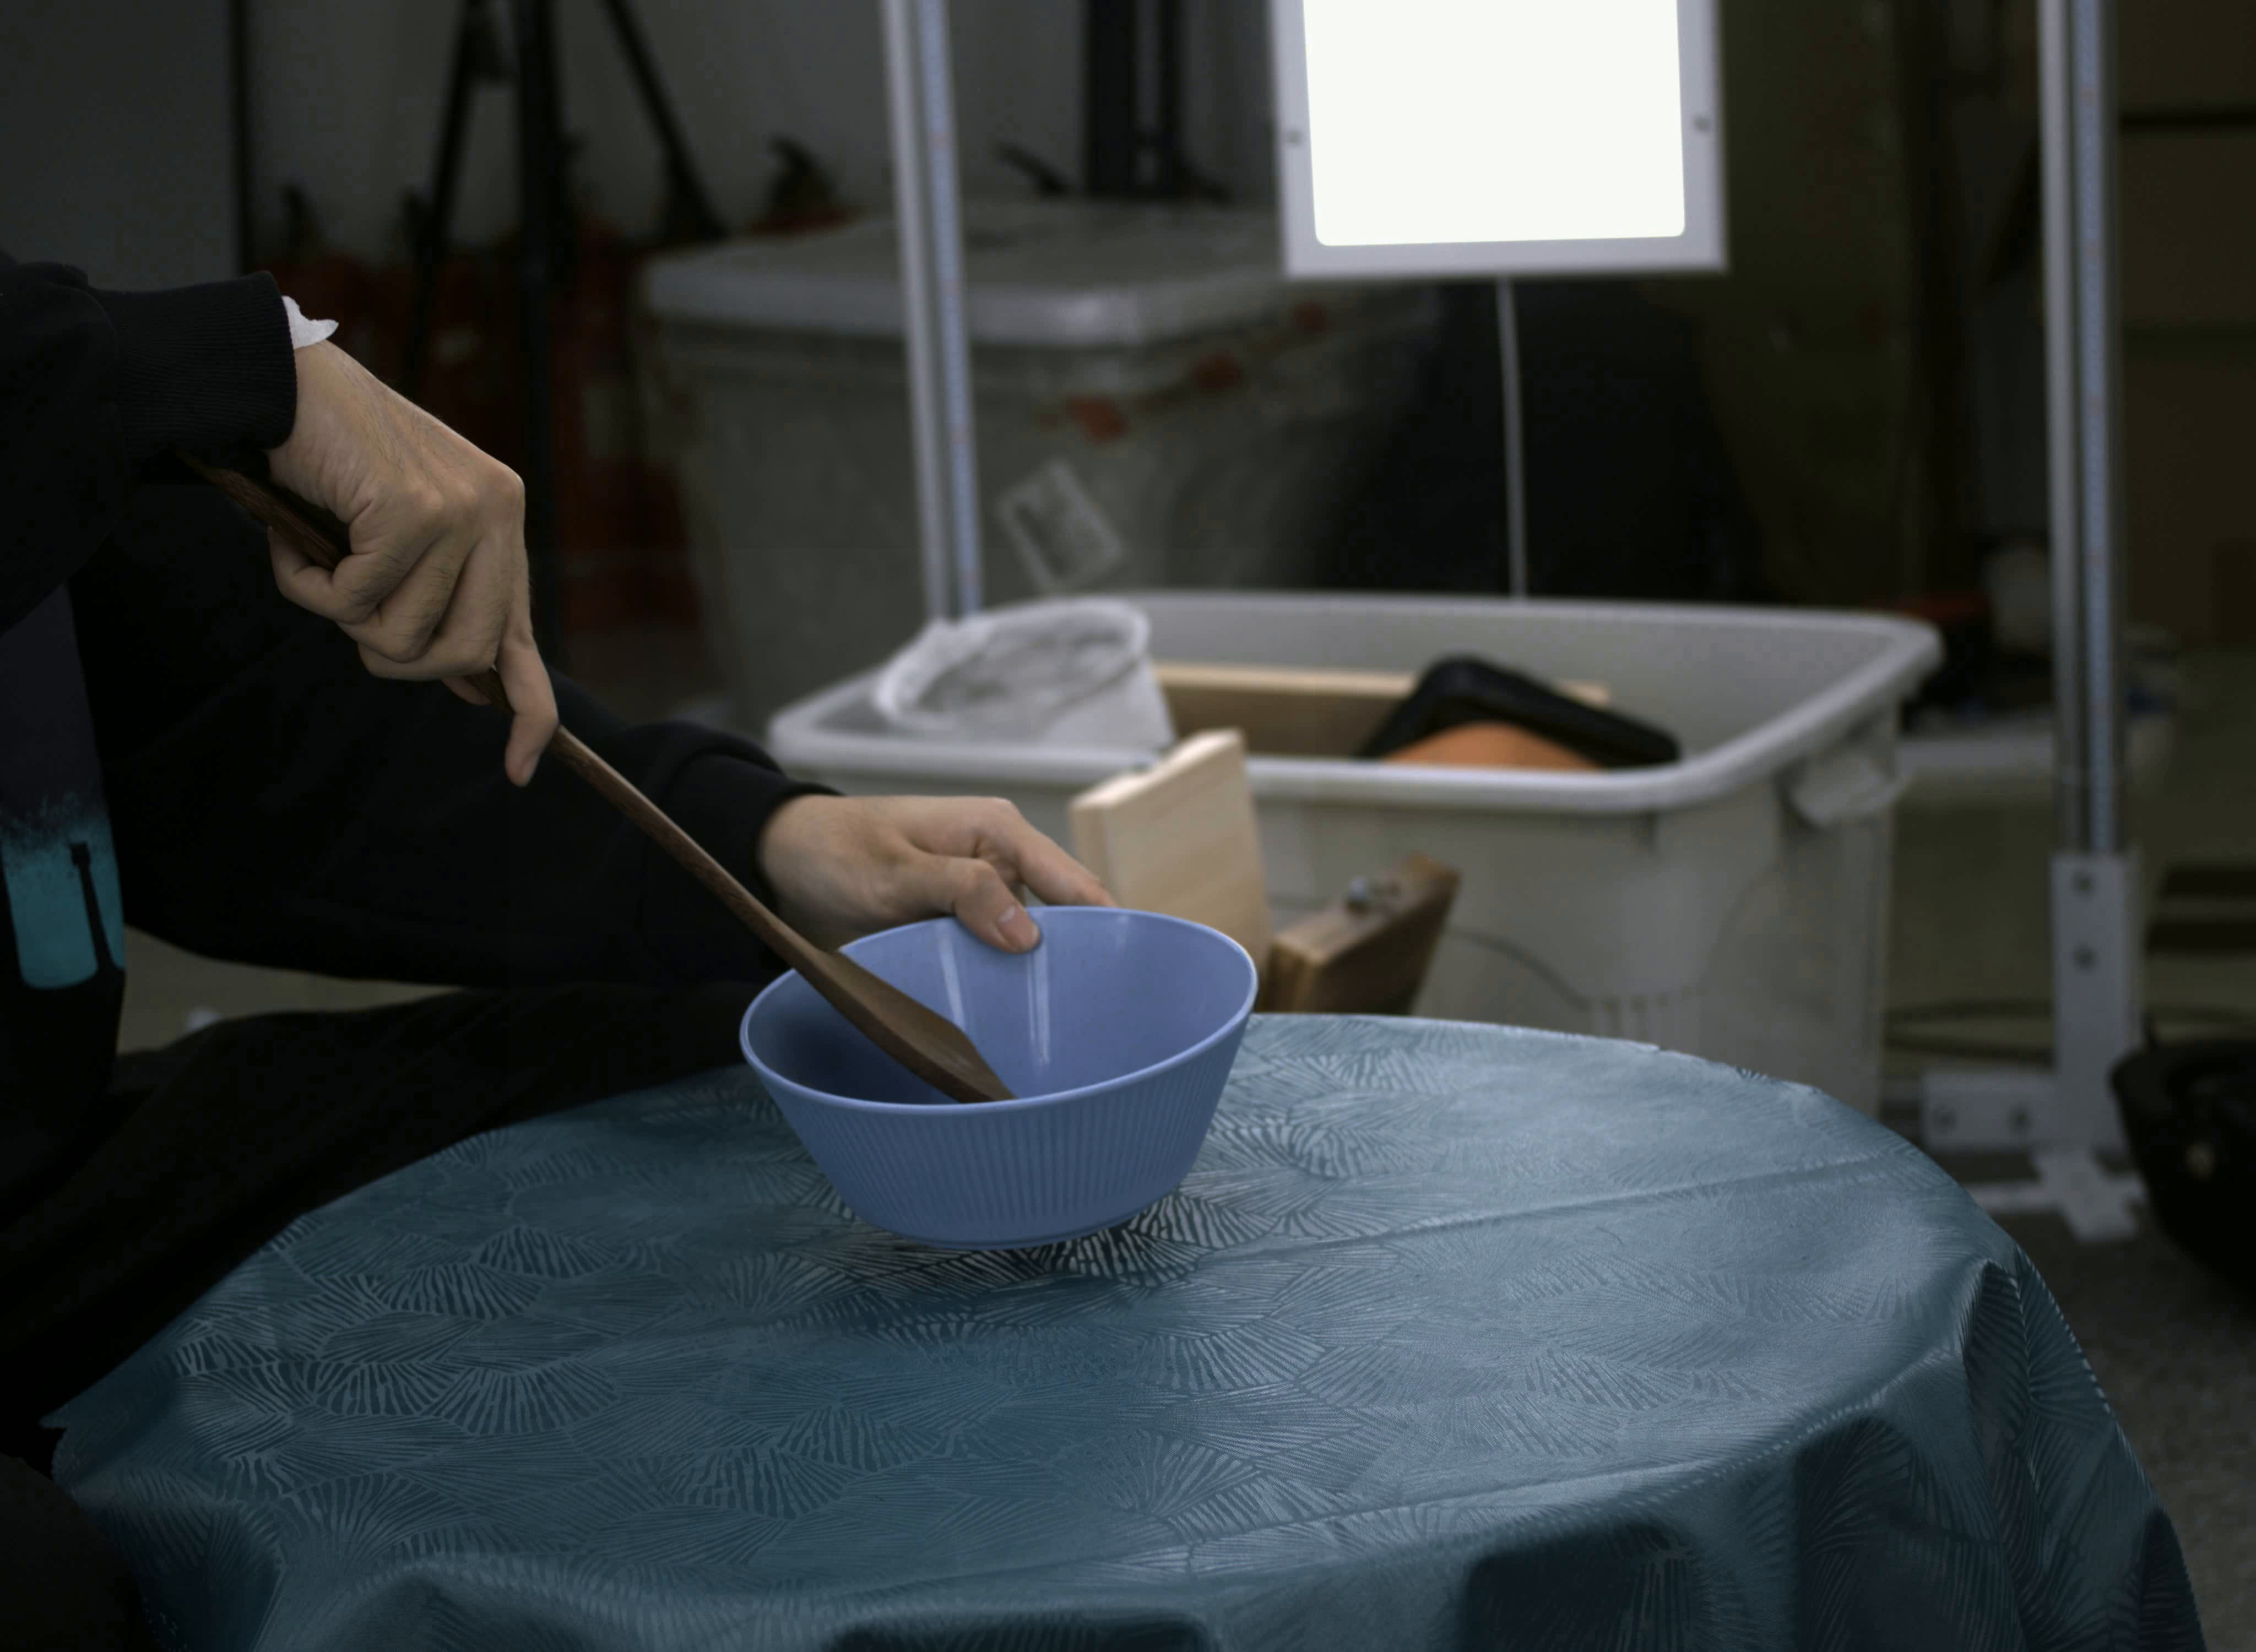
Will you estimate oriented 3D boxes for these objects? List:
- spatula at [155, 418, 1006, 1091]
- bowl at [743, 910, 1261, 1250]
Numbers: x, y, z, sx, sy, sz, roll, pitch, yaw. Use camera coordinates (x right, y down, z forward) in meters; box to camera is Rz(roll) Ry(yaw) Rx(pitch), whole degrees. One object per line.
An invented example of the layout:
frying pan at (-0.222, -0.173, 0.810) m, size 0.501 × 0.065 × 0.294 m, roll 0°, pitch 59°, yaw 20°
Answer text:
spatula at (-0.167, -0.015, 1.793) m, size 0.016 × 0.381 × 0.097 m, roll -48°, pitch 25°, yaw 2°
bowl at (-0.038, 0.089, 1.851) m, size 0.176 × 0.070 × 0.176 m, roll -8°, pitch 19°, yaw 1°
